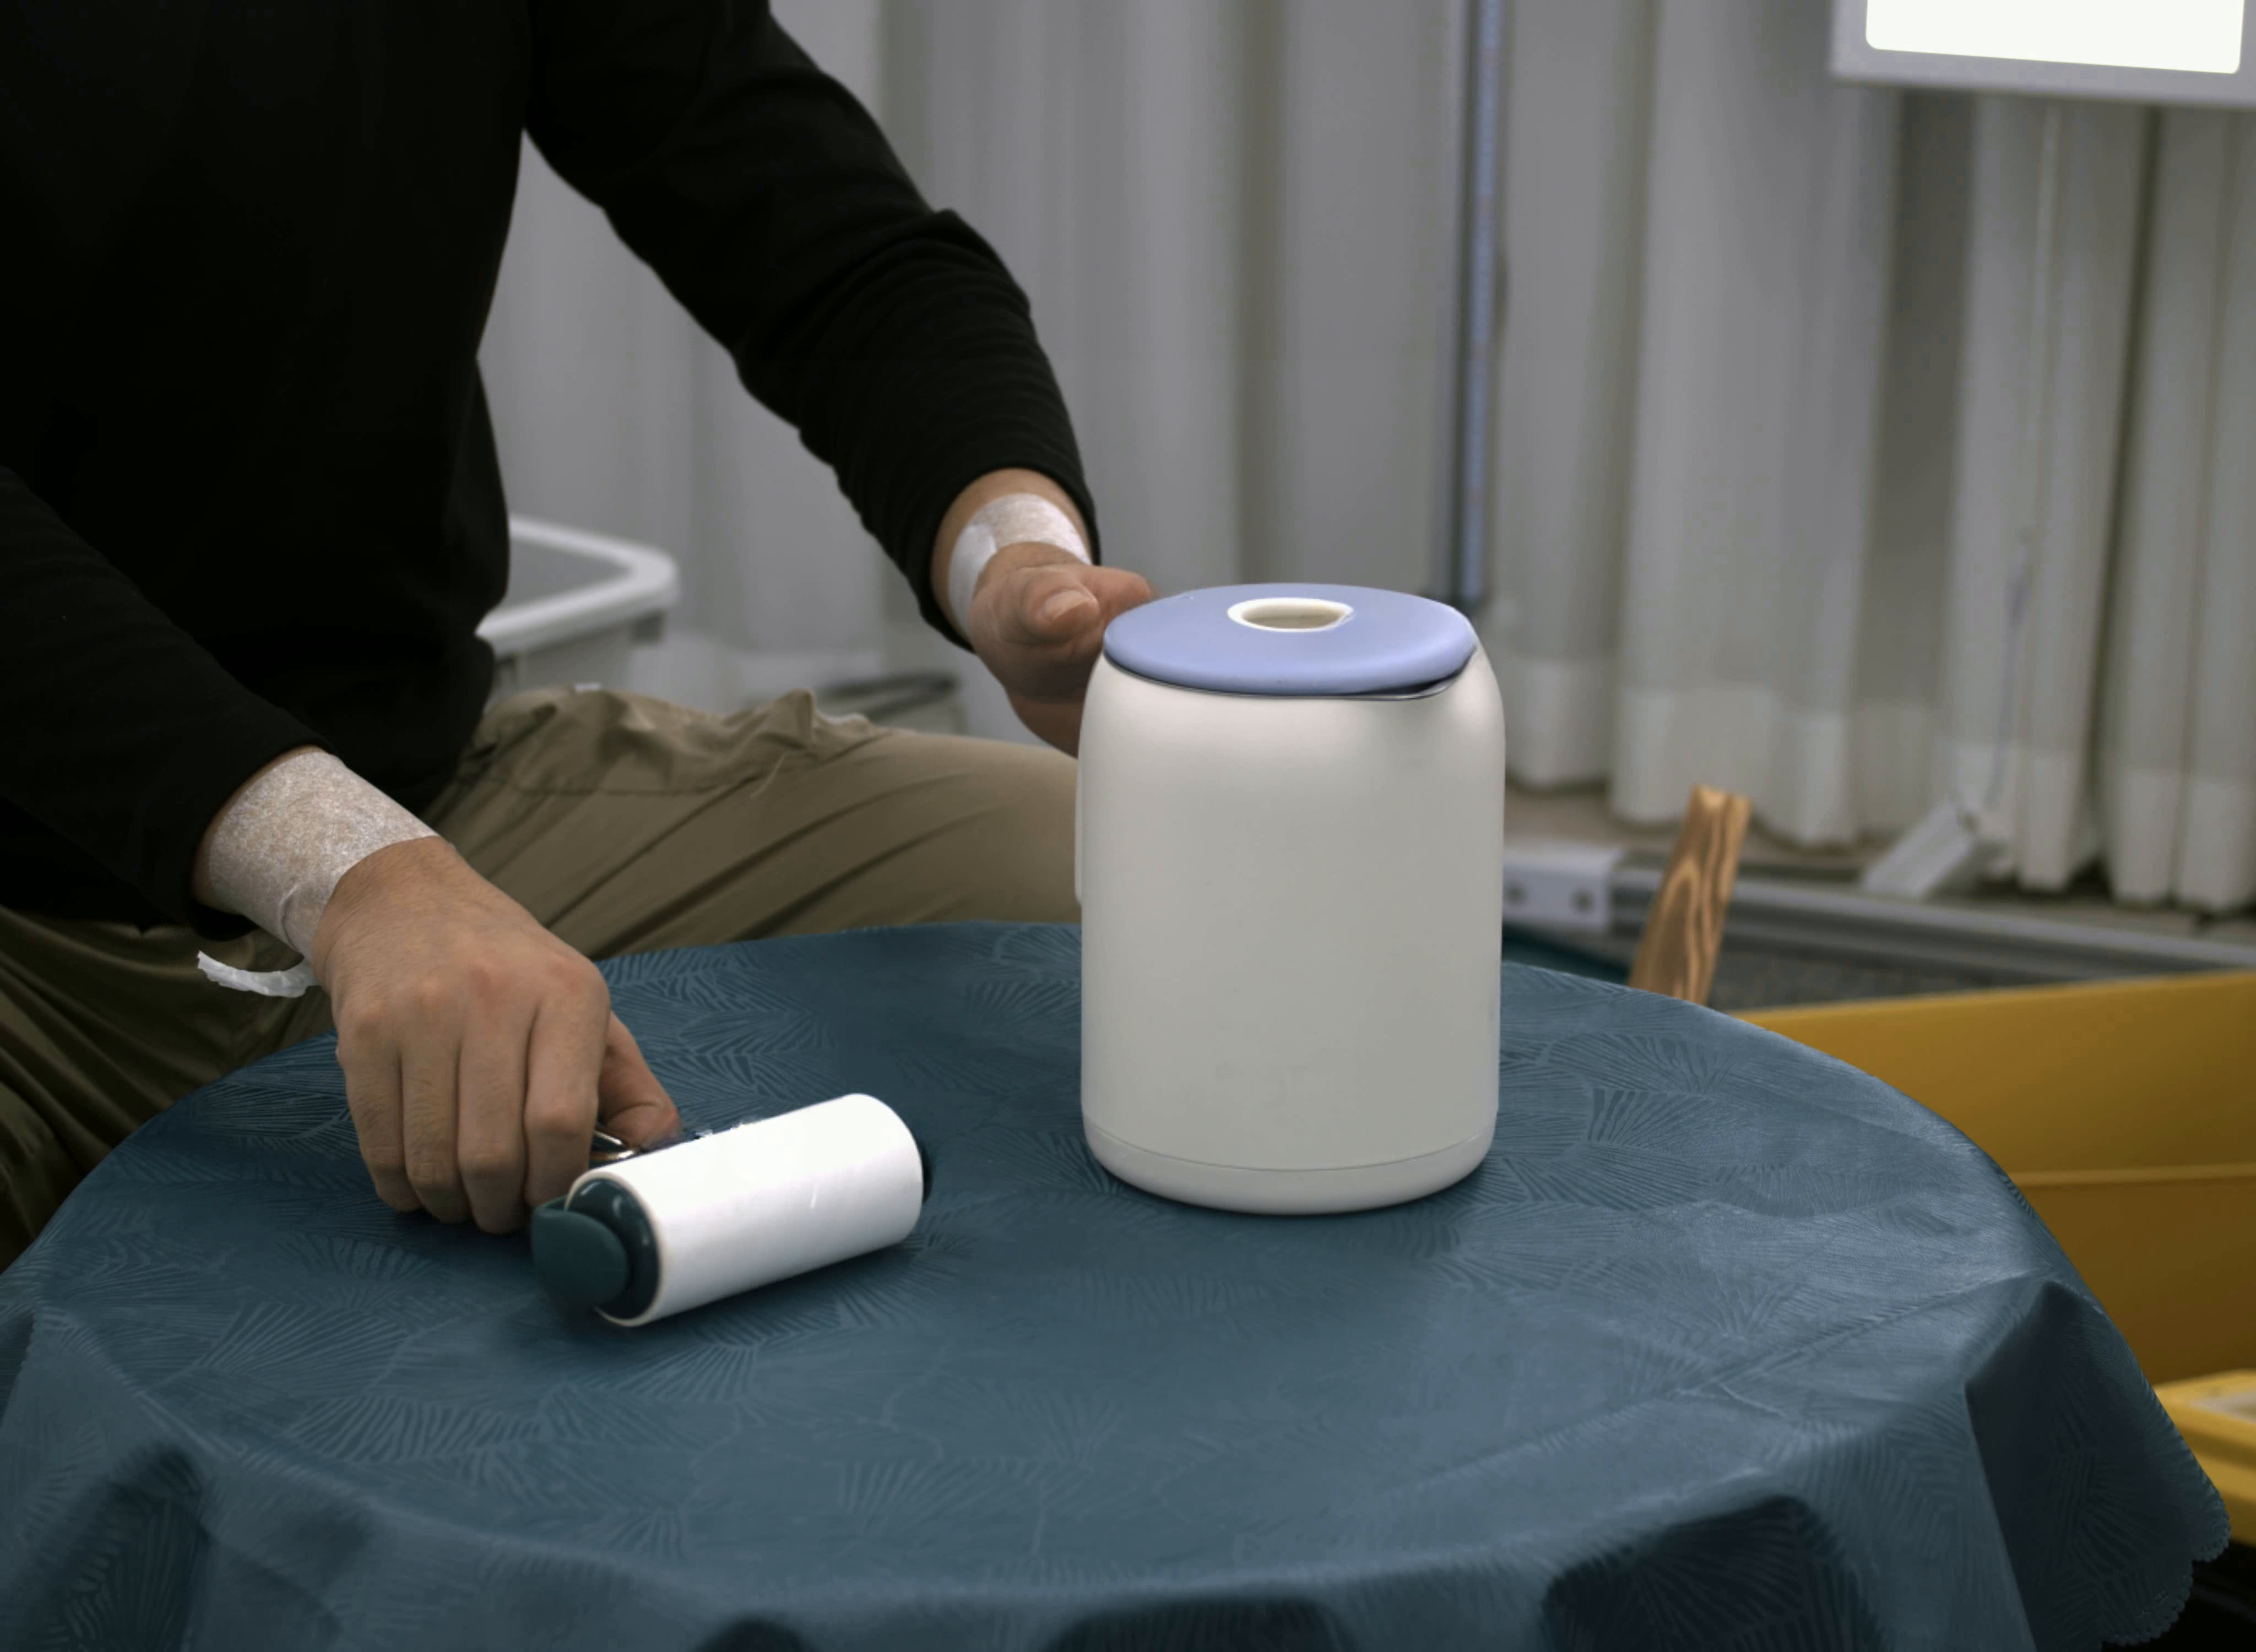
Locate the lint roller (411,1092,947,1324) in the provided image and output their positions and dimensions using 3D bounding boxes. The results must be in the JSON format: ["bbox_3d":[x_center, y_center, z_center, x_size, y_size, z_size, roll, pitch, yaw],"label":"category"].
[{"bbox_3d":[-0.158,0.098,1.577,0.135,0.049,0.177,-14,21,-41],"label":"lint roller"}]

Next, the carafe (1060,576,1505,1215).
[{"bbox_3d":[0.037,0.015,1.650,0.133,0.184,0.188,-10,17,-33],"label":"carafe"}]
